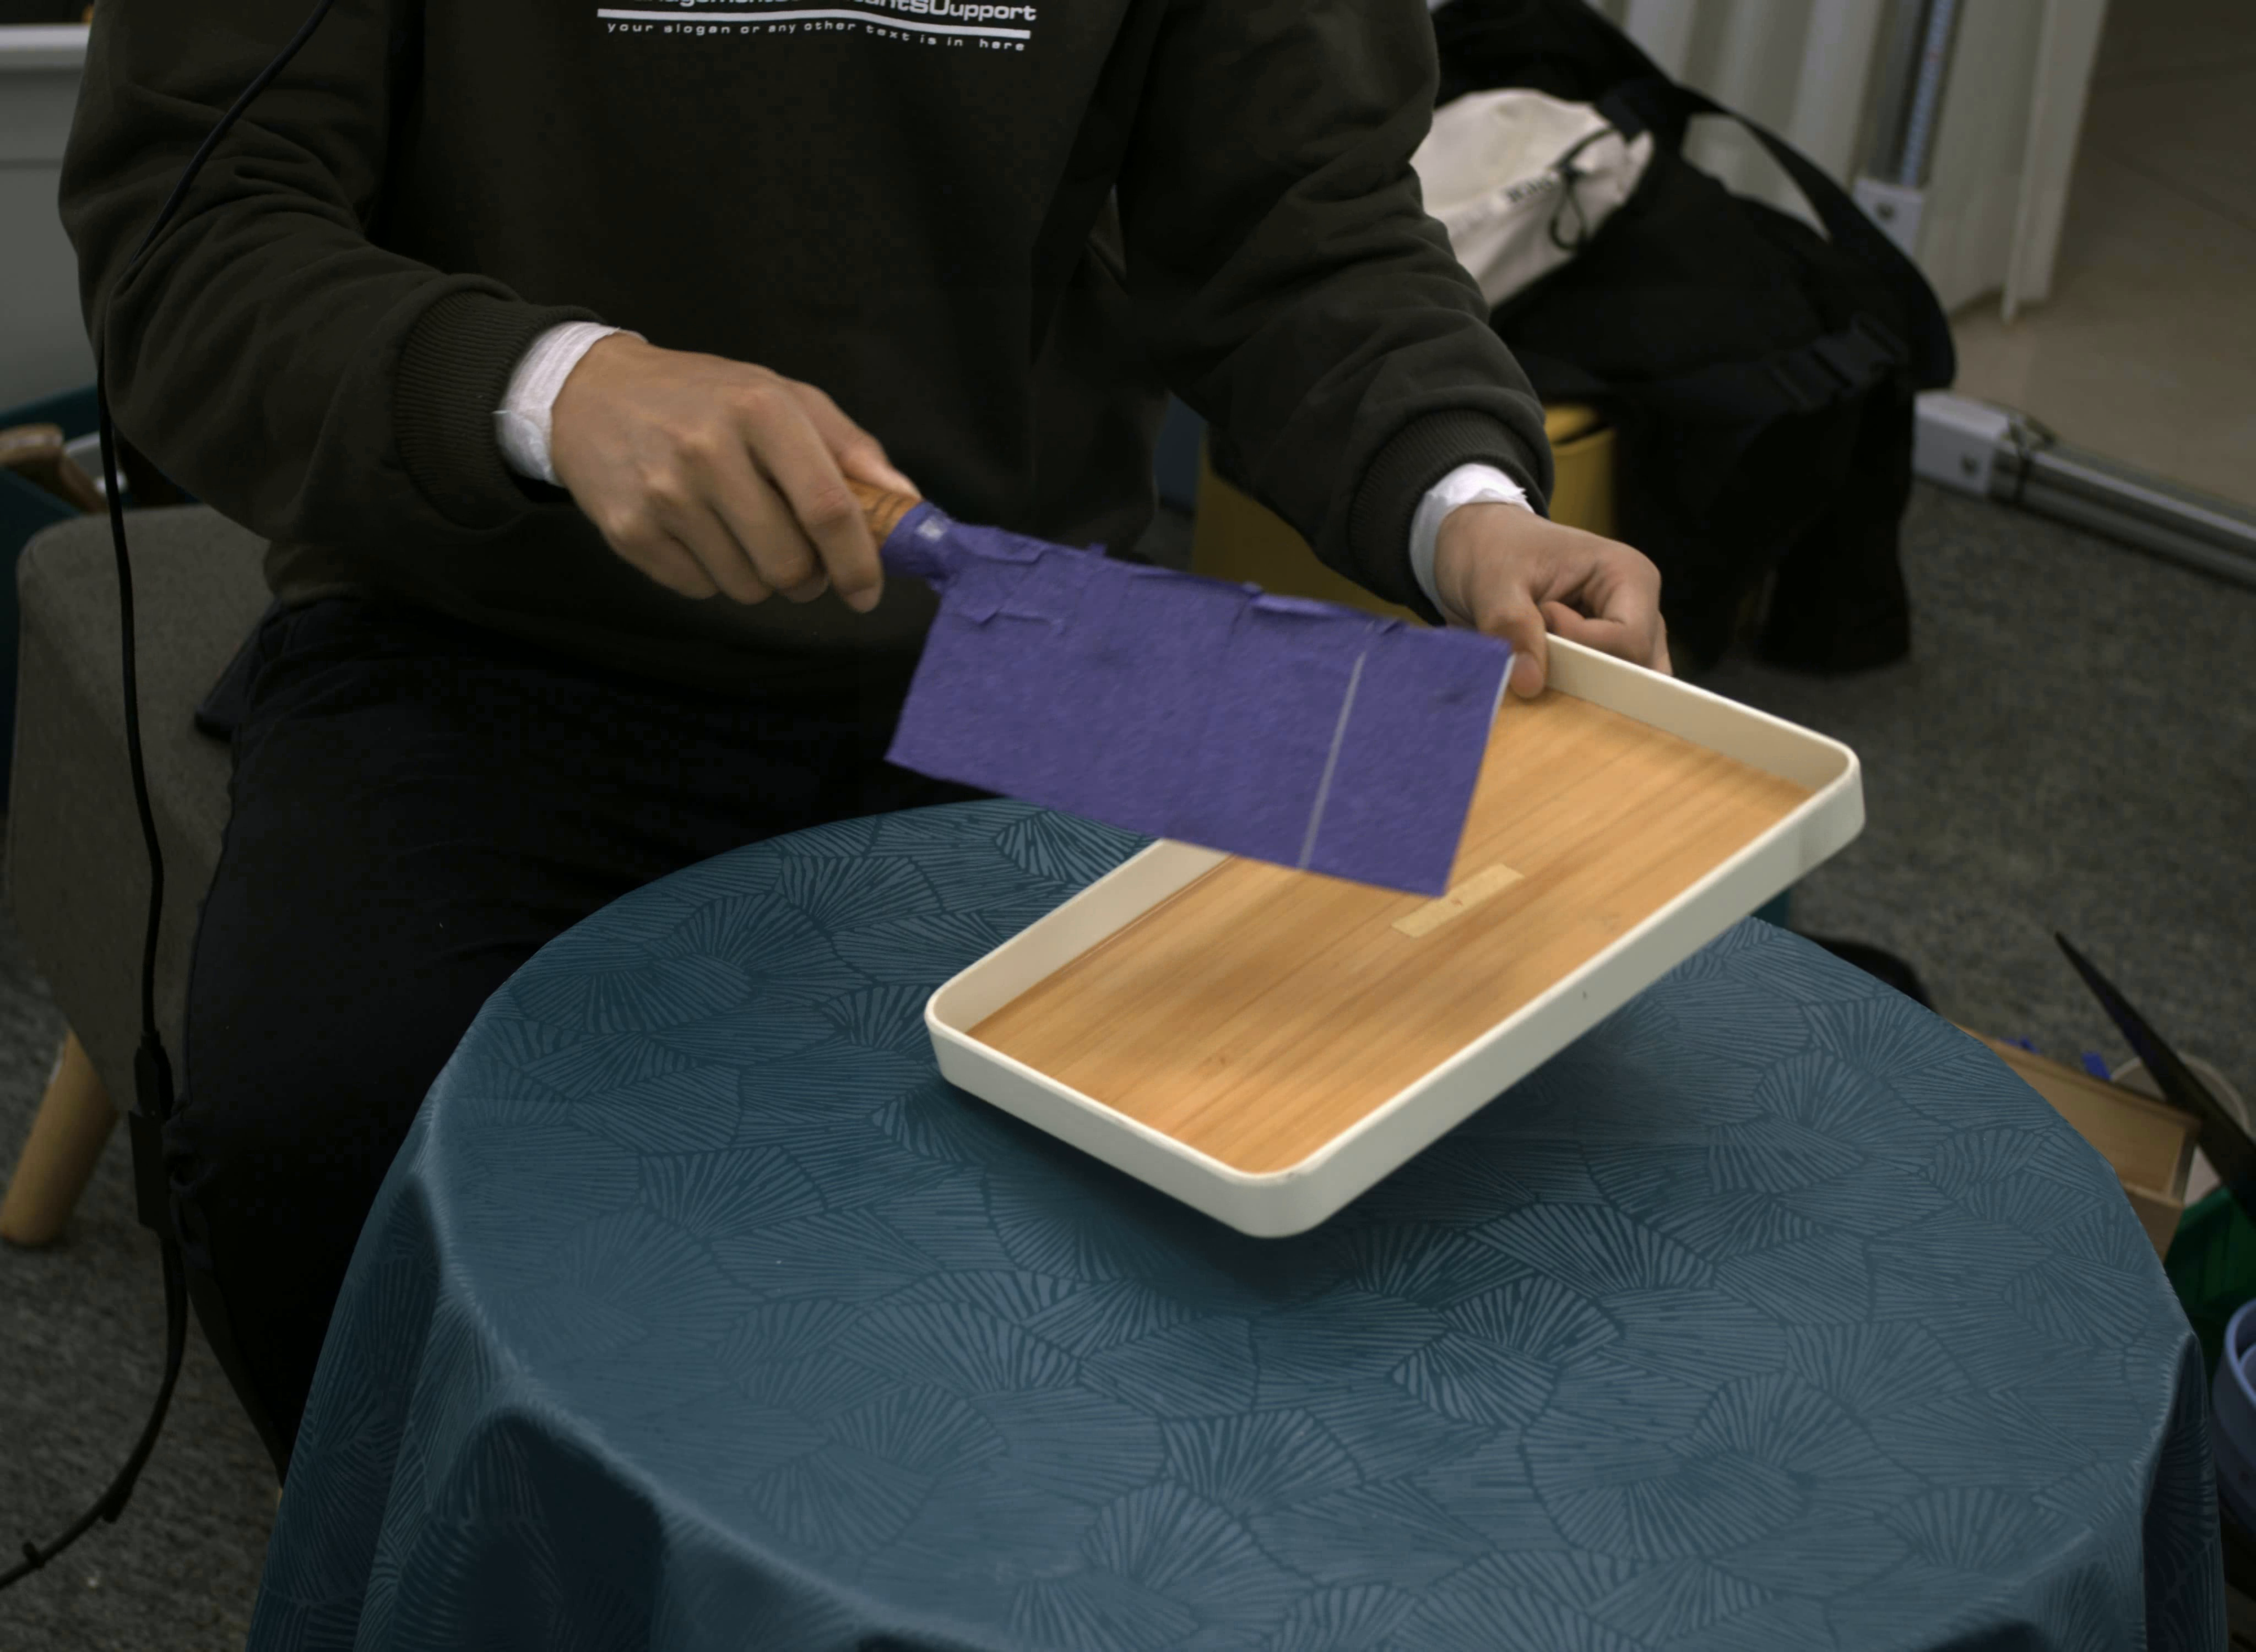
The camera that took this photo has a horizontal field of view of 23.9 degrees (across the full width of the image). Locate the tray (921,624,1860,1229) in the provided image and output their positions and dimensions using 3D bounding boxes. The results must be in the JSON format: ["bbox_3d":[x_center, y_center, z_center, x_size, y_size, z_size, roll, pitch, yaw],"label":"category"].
[{"bbox_3d":[0.093,0.029,1.856,0.299,0.027,0.193,-33,35,-29],"label":"tray"}]

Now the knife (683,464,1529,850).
[{"bbox_3d":[-0.020,-0.058,1.821,0.316,0.104,0.032,12,-12,24],"label":"knife"}]
